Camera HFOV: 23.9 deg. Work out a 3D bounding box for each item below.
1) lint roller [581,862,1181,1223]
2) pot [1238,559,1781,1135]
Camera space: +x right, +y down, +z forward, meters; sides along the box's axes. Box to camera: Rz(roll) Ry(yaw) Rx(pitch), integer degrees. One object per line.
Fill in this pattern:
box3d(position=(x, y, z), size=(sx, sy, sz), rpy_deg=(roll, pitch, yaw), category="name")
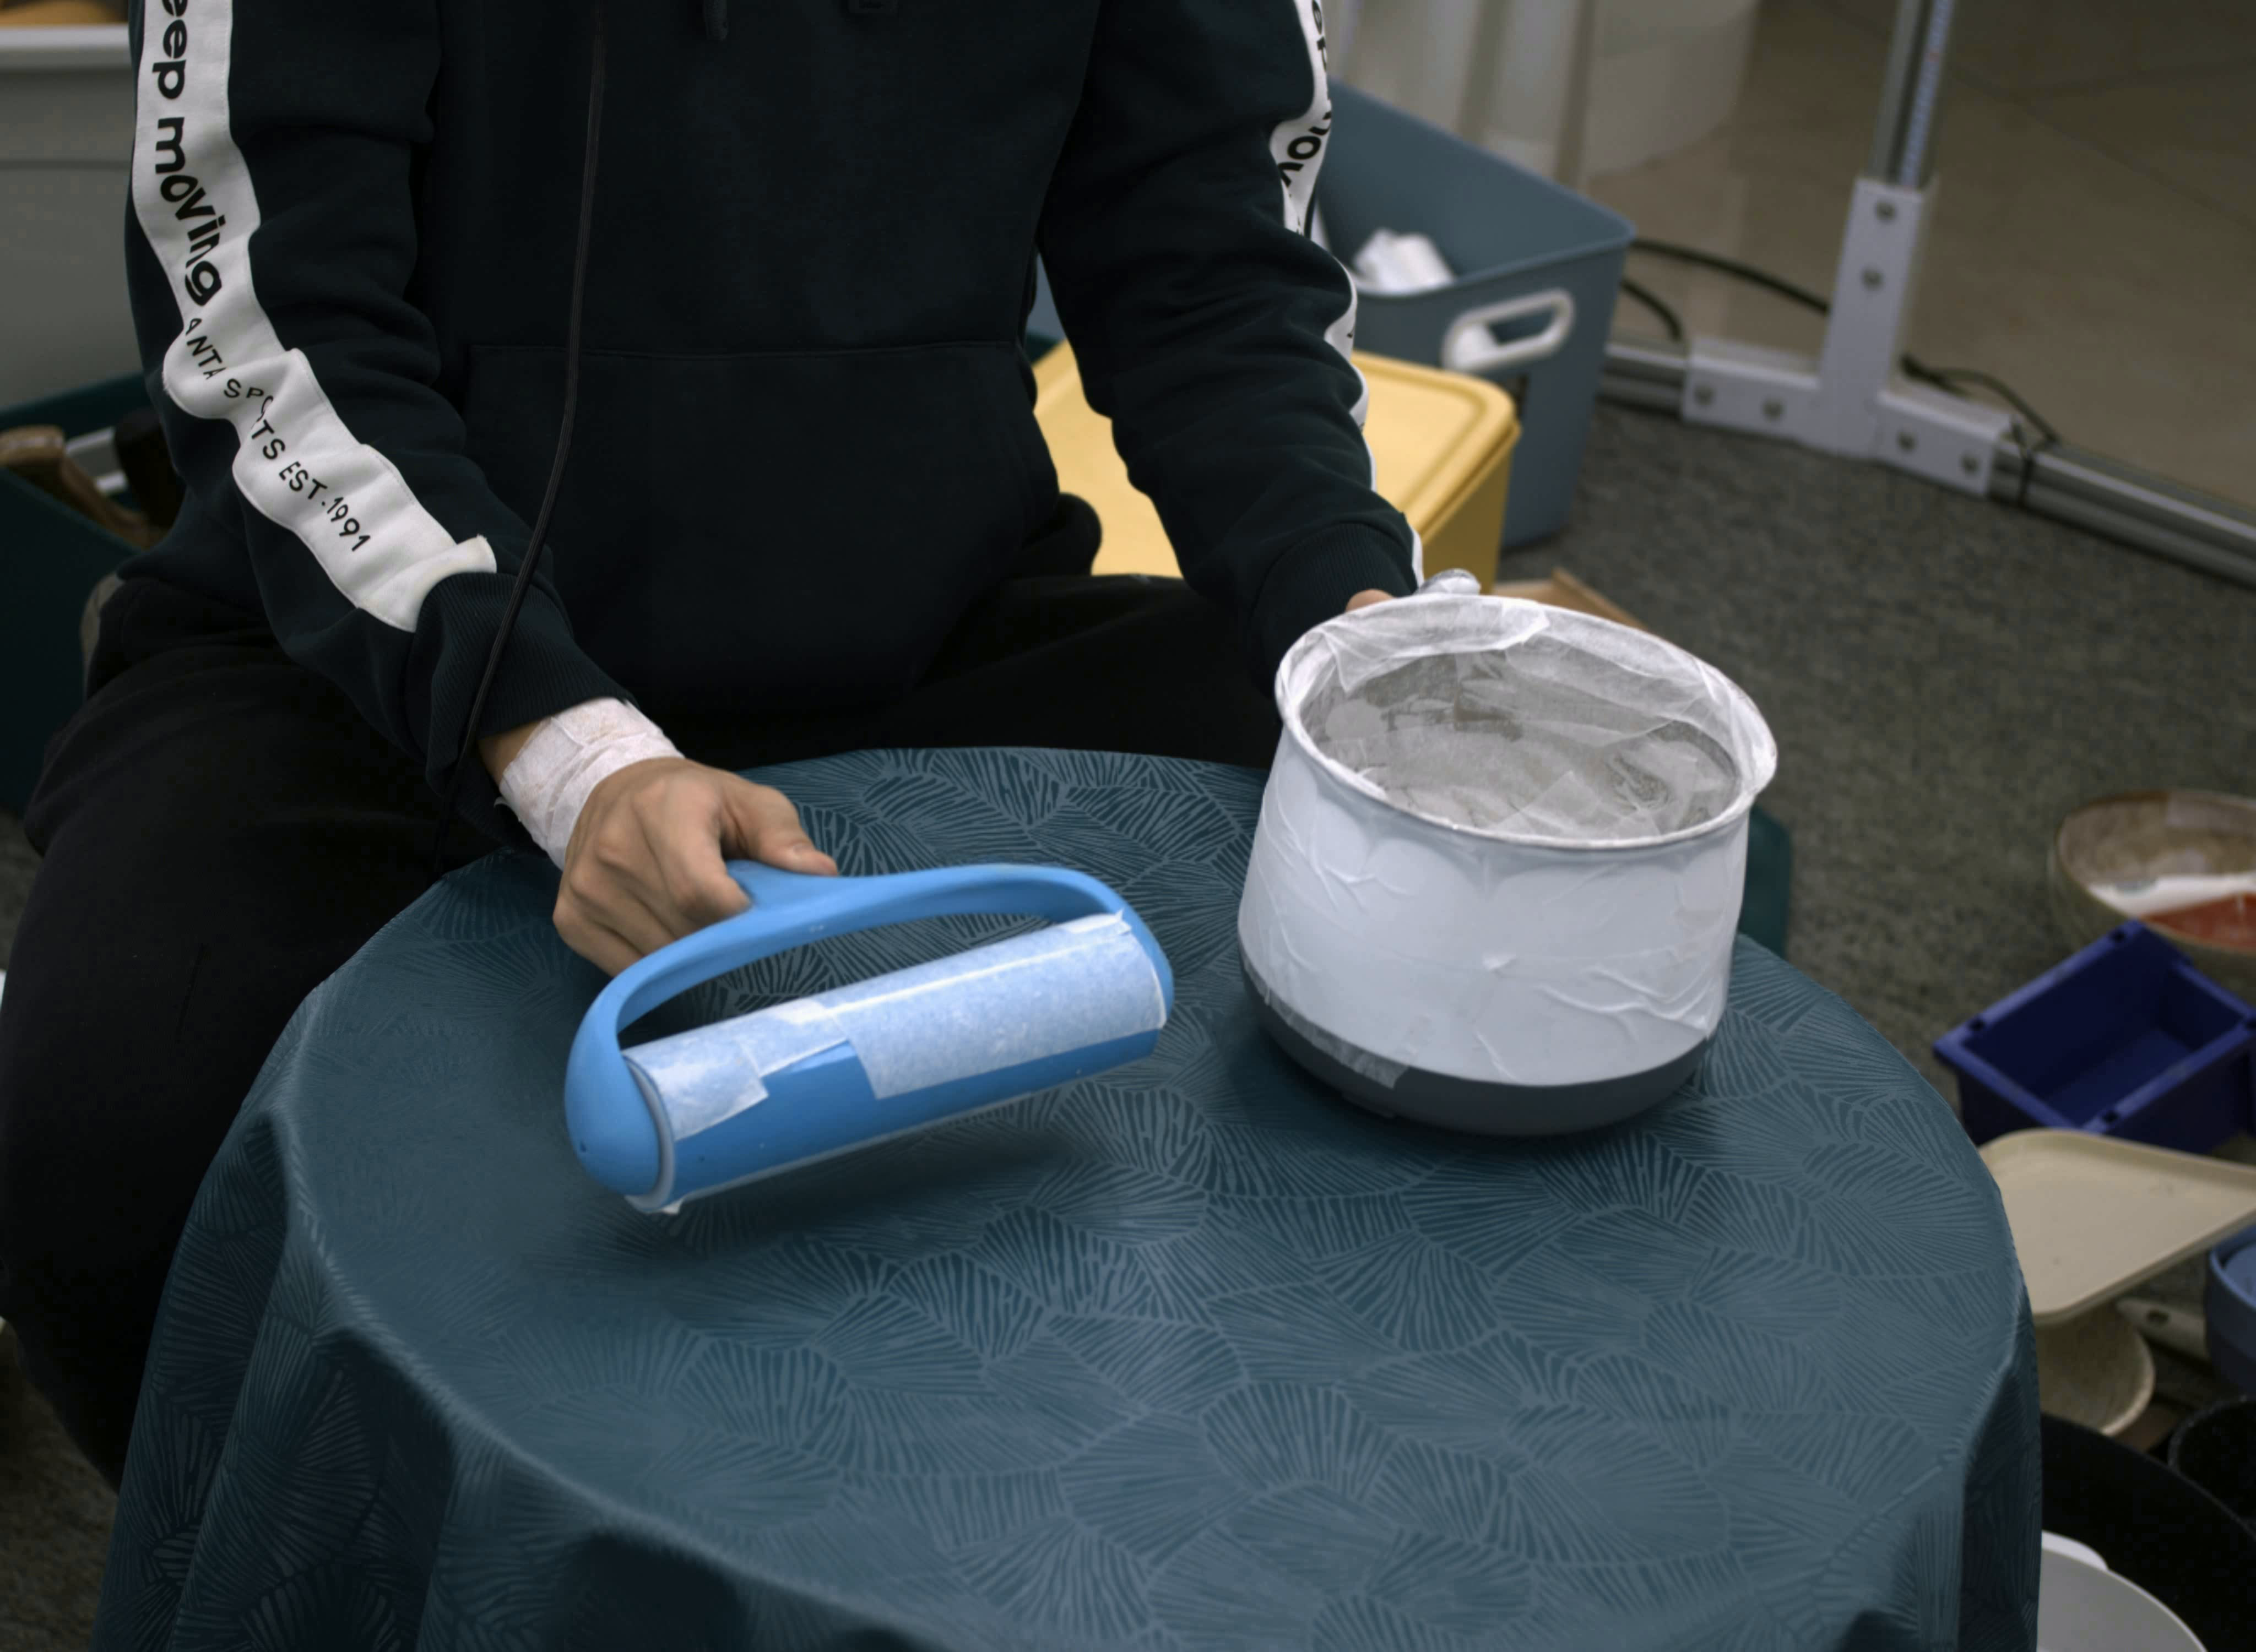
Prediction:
box3d(position=(-0.115, 0.050, 1.797), size=(0.228, 0.067, 0.182), rpy_deg=(-20, 39, -34), category="lint roller")
box3d(position=(0.125, 0.000, 1.899), size=(0.178, 0.136, 0.236), rpy_deg=(1, 31, -14), category="pot")
